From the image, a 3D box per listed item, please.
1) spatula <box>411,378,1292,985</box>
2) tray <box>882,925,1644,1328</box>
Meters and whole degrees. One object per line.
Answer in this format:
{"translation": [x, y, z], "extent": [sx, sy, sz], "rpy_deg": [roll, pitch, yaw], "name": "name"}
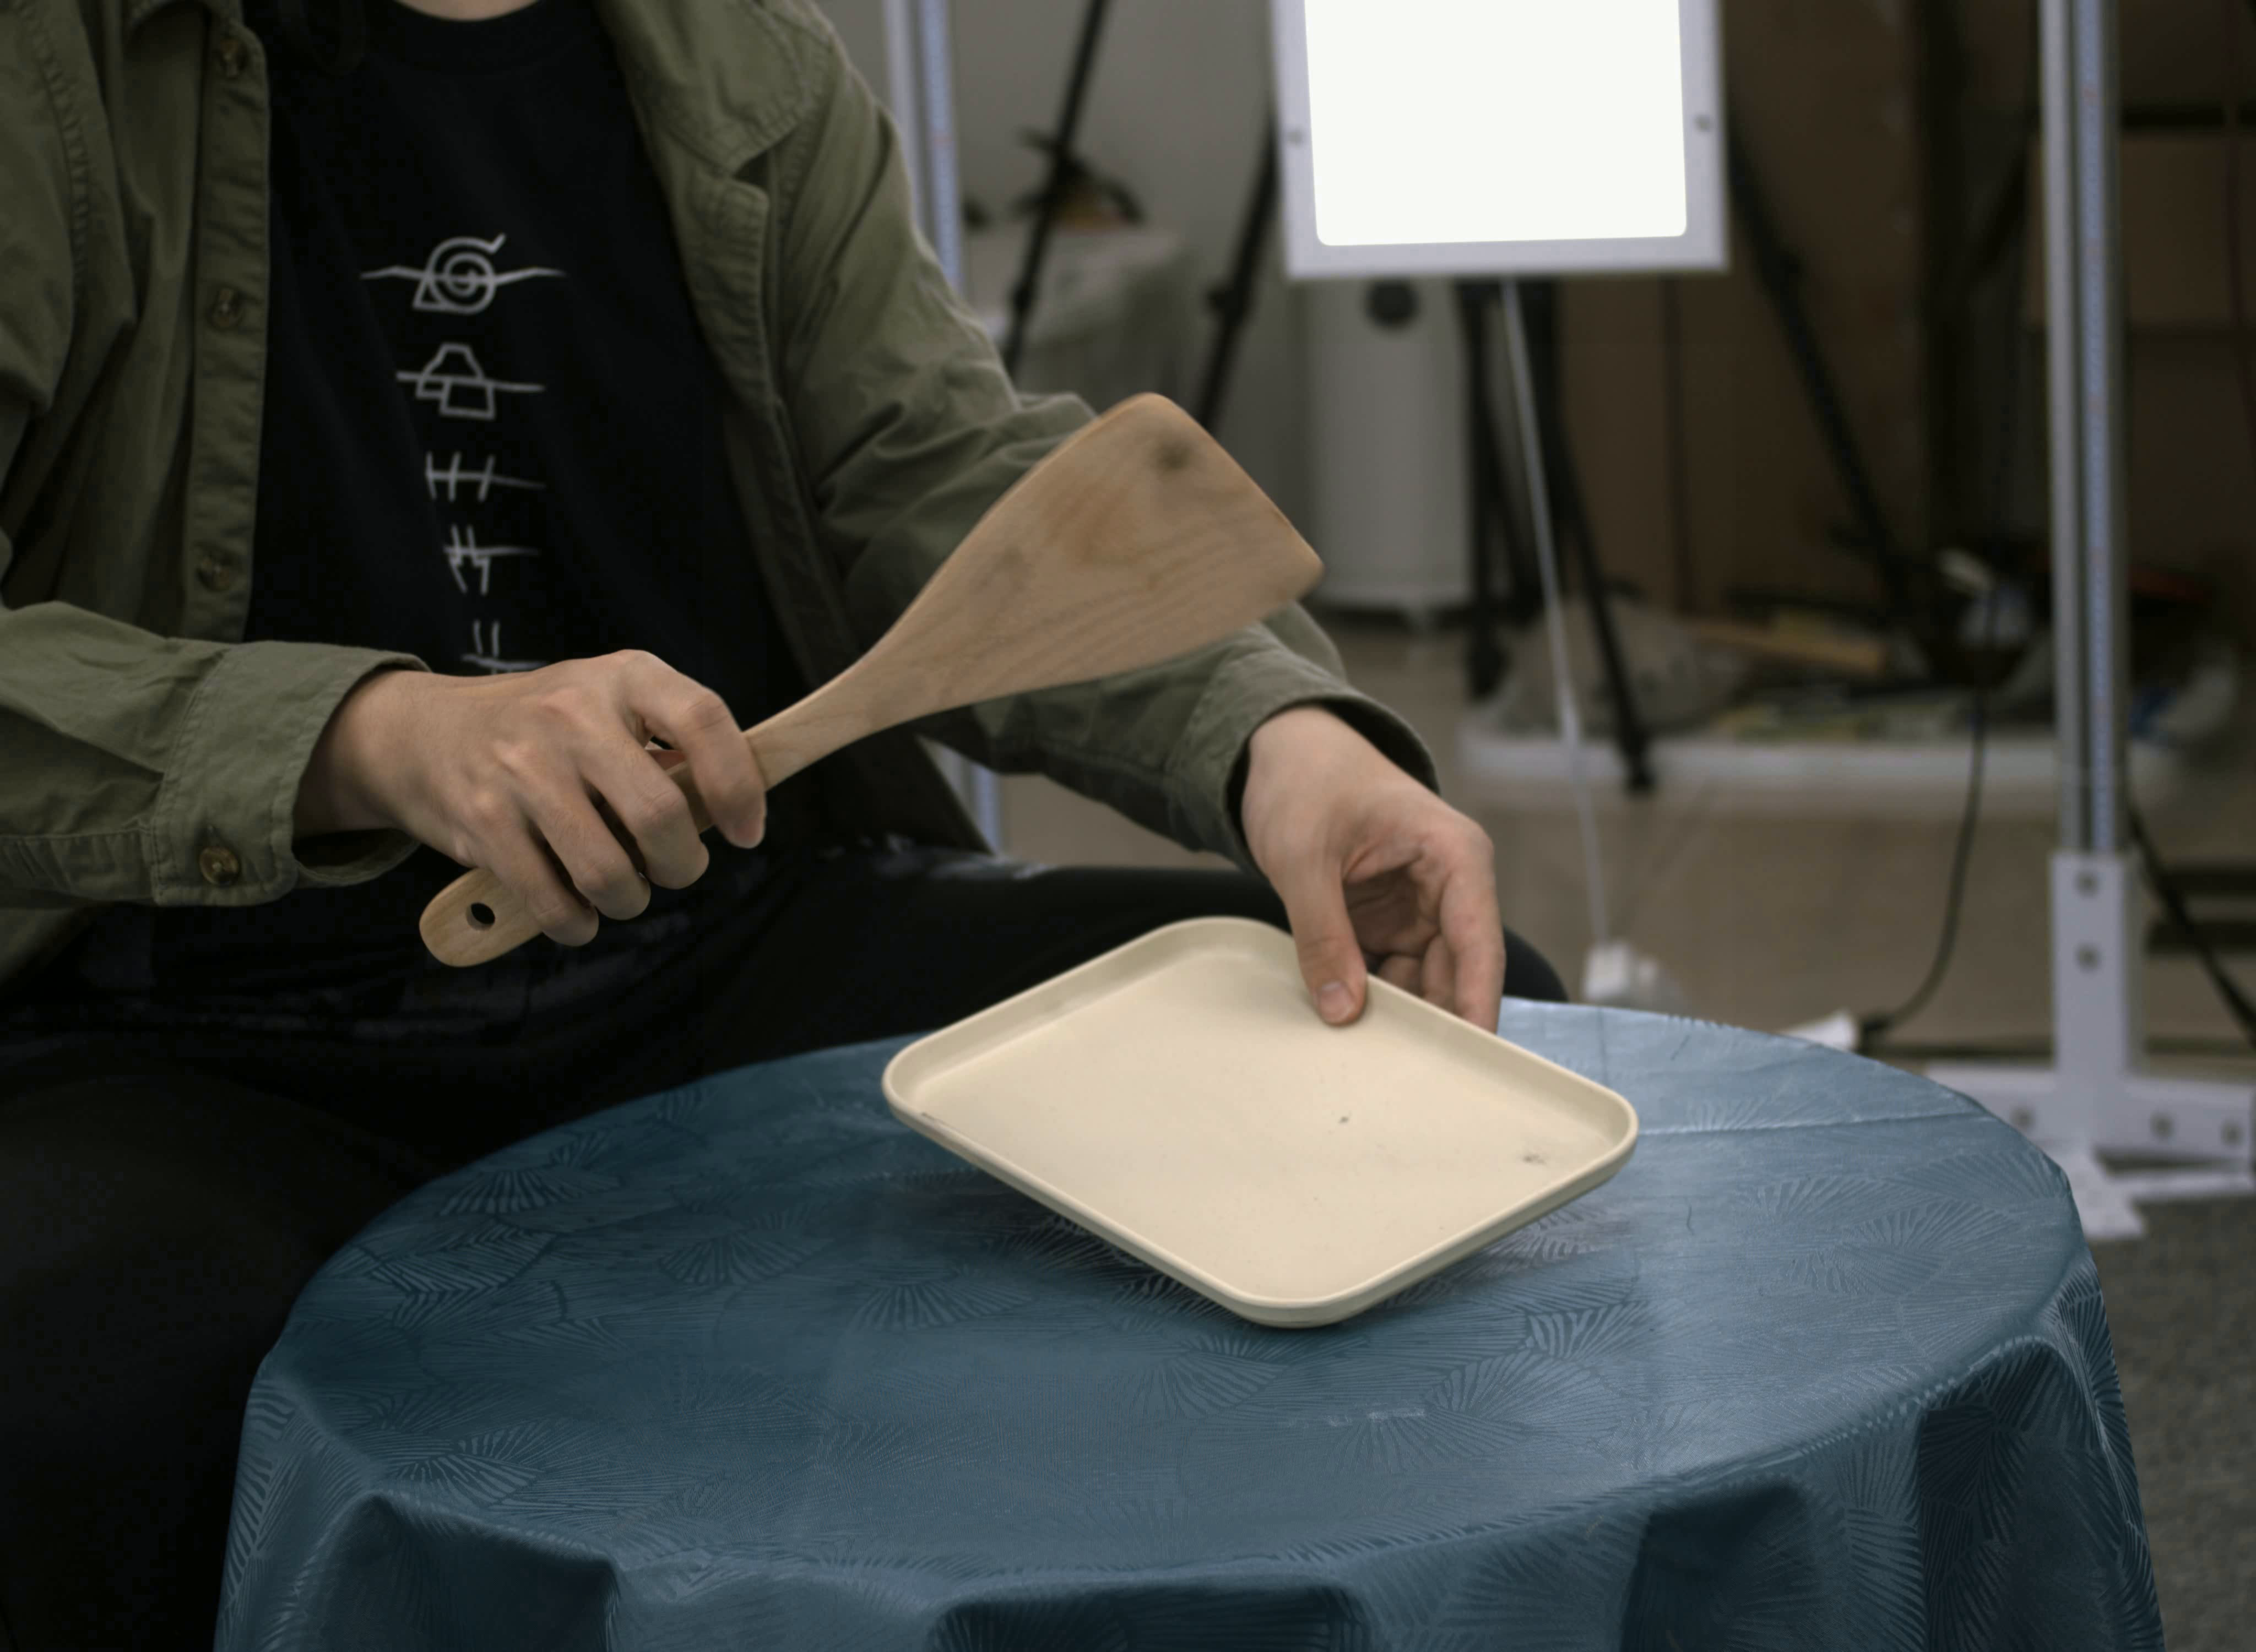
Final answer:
{"translation": [-0.099, -0.034, 1.713], "extent": [0.332, 0.079, 0.016], "rpy_deg": [-31, 13, 23], "name": "spatula"}
{"translation": [0.044, 0.099, 1.848], "extent": [0.167, 0.017, 0.244], "rpy_deg": [-23, 30, -31], "name": "tray"}
